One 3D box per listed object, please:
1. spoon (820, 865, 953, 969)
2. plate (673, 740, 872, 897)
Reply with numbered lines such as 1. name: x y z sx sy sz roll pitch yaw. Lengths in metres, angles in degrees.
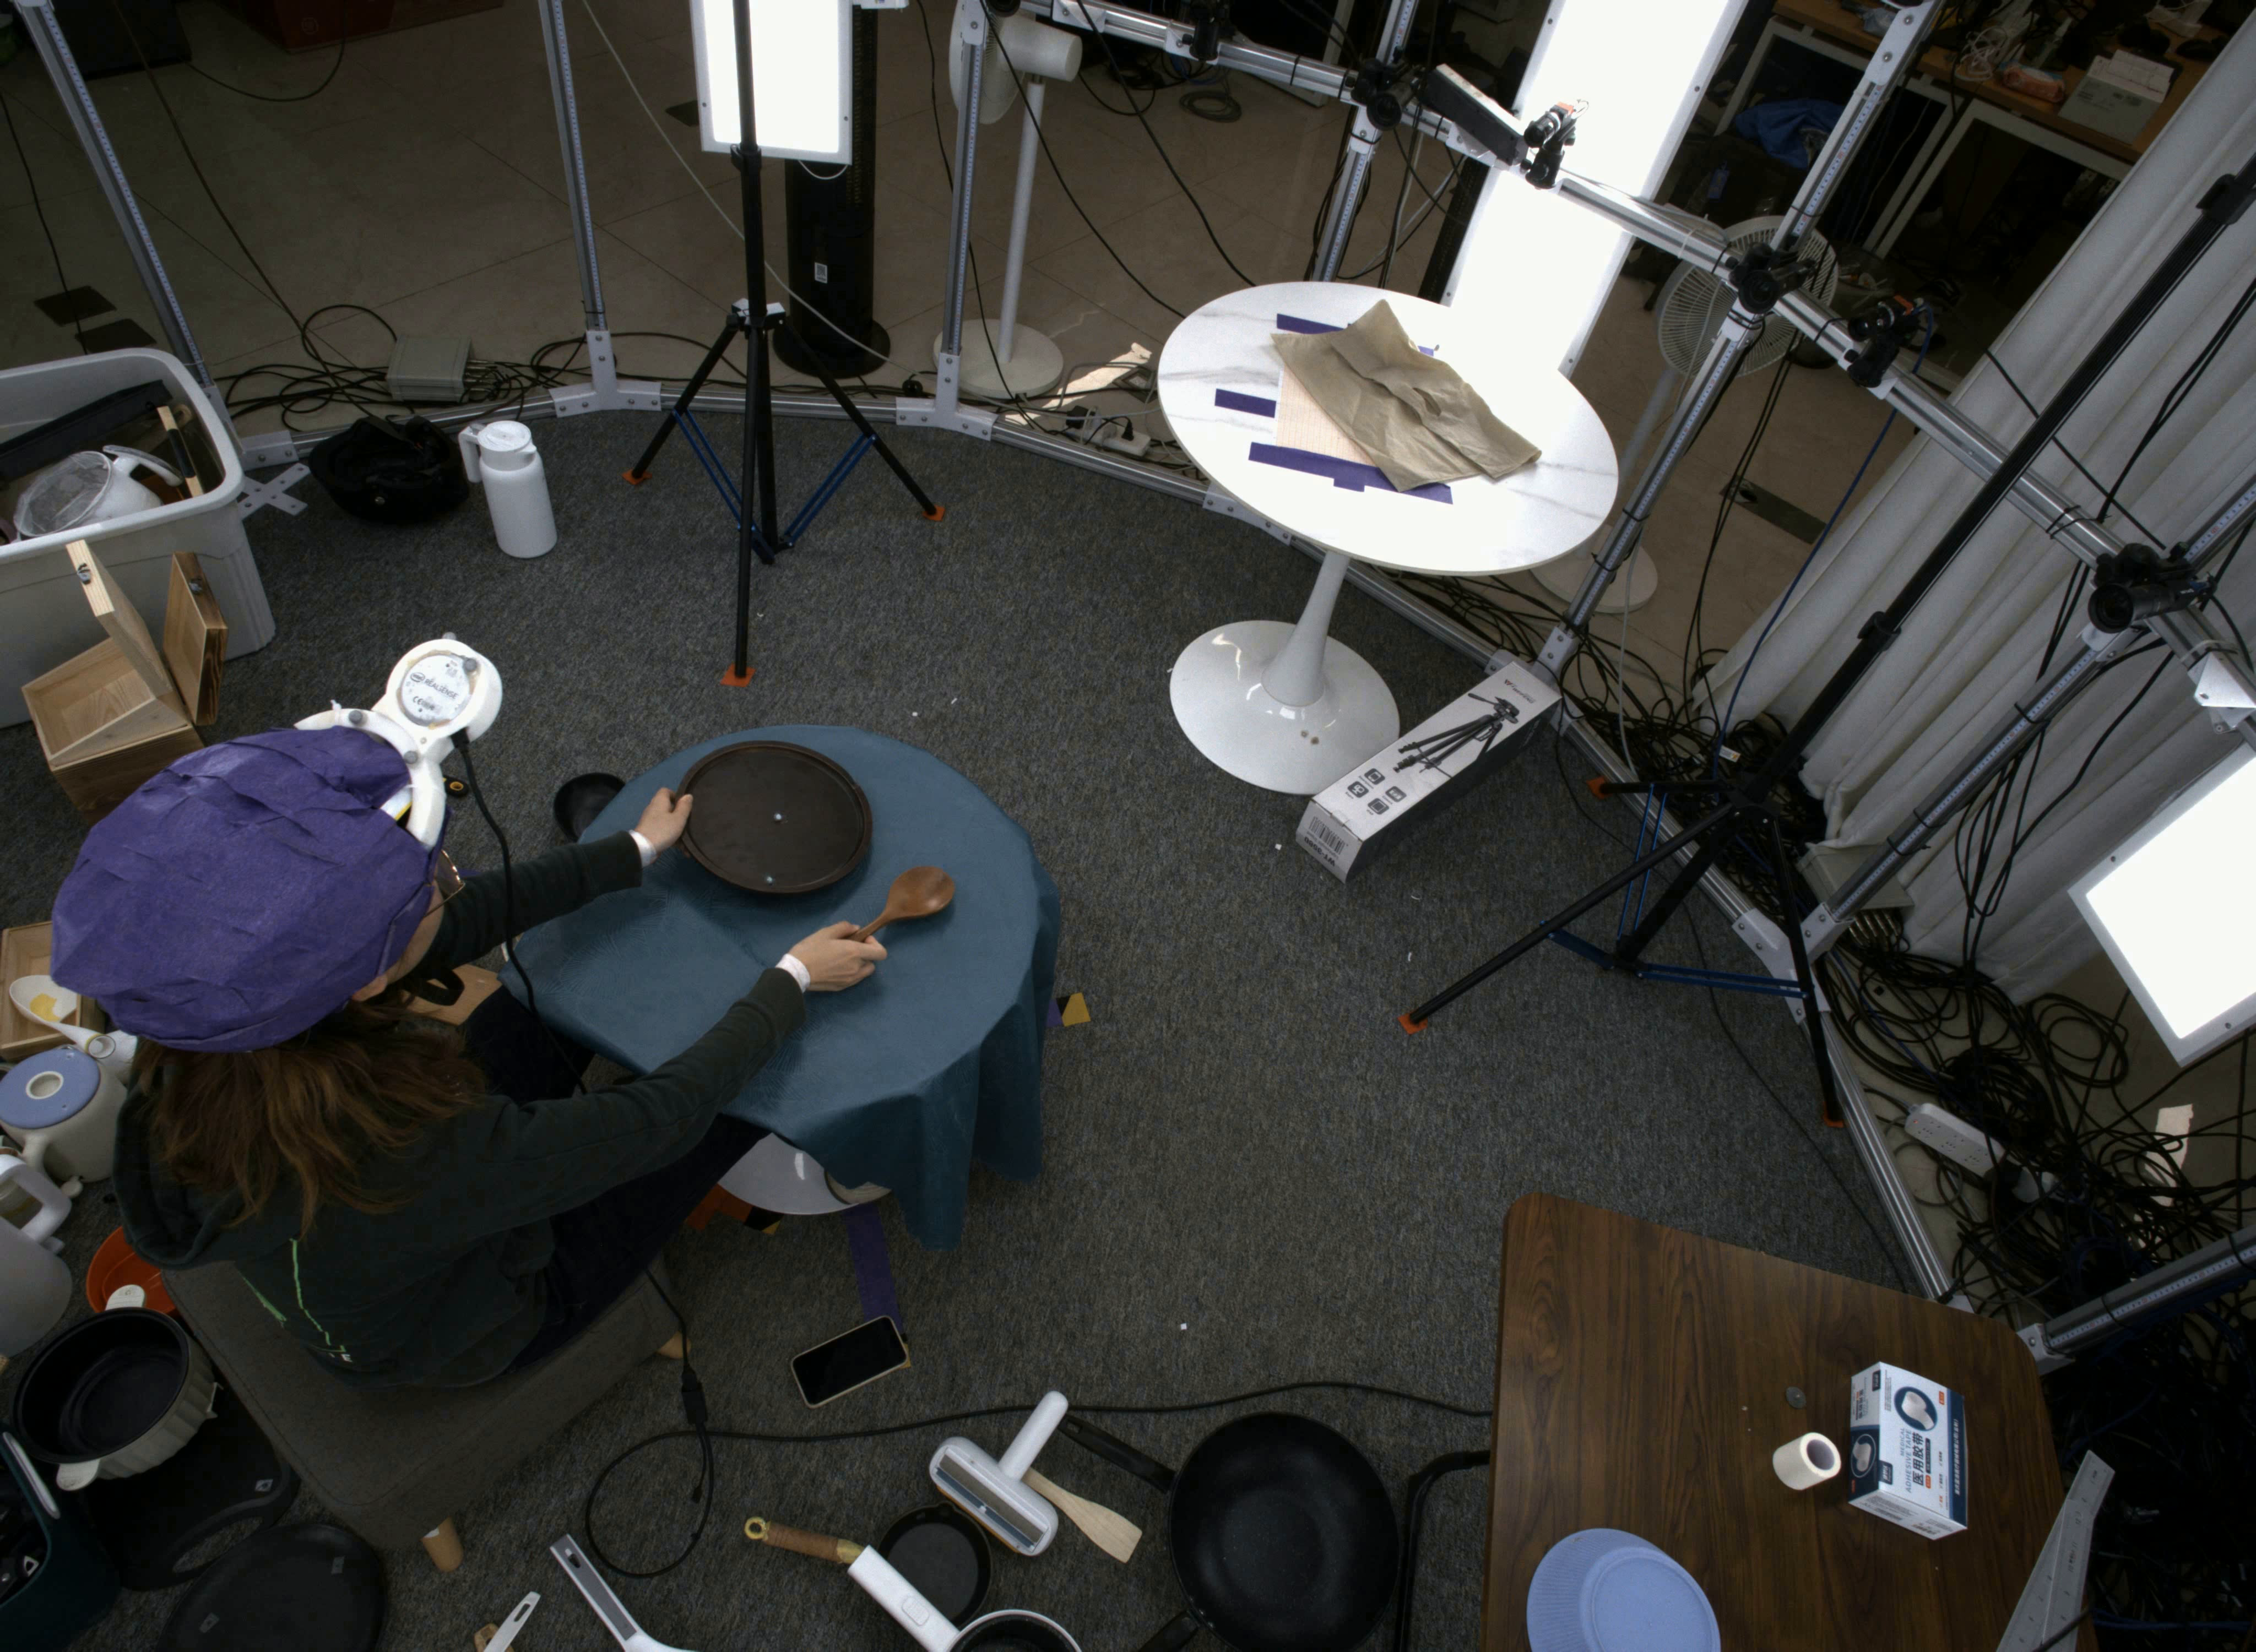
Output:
1. spoon: -0.304 0.113 1.635 0.074 0.017 0.216 38 46 13
2. plate: -0.459 -0.012 1.679 0.256 0.029 0.250 15 47 -14
